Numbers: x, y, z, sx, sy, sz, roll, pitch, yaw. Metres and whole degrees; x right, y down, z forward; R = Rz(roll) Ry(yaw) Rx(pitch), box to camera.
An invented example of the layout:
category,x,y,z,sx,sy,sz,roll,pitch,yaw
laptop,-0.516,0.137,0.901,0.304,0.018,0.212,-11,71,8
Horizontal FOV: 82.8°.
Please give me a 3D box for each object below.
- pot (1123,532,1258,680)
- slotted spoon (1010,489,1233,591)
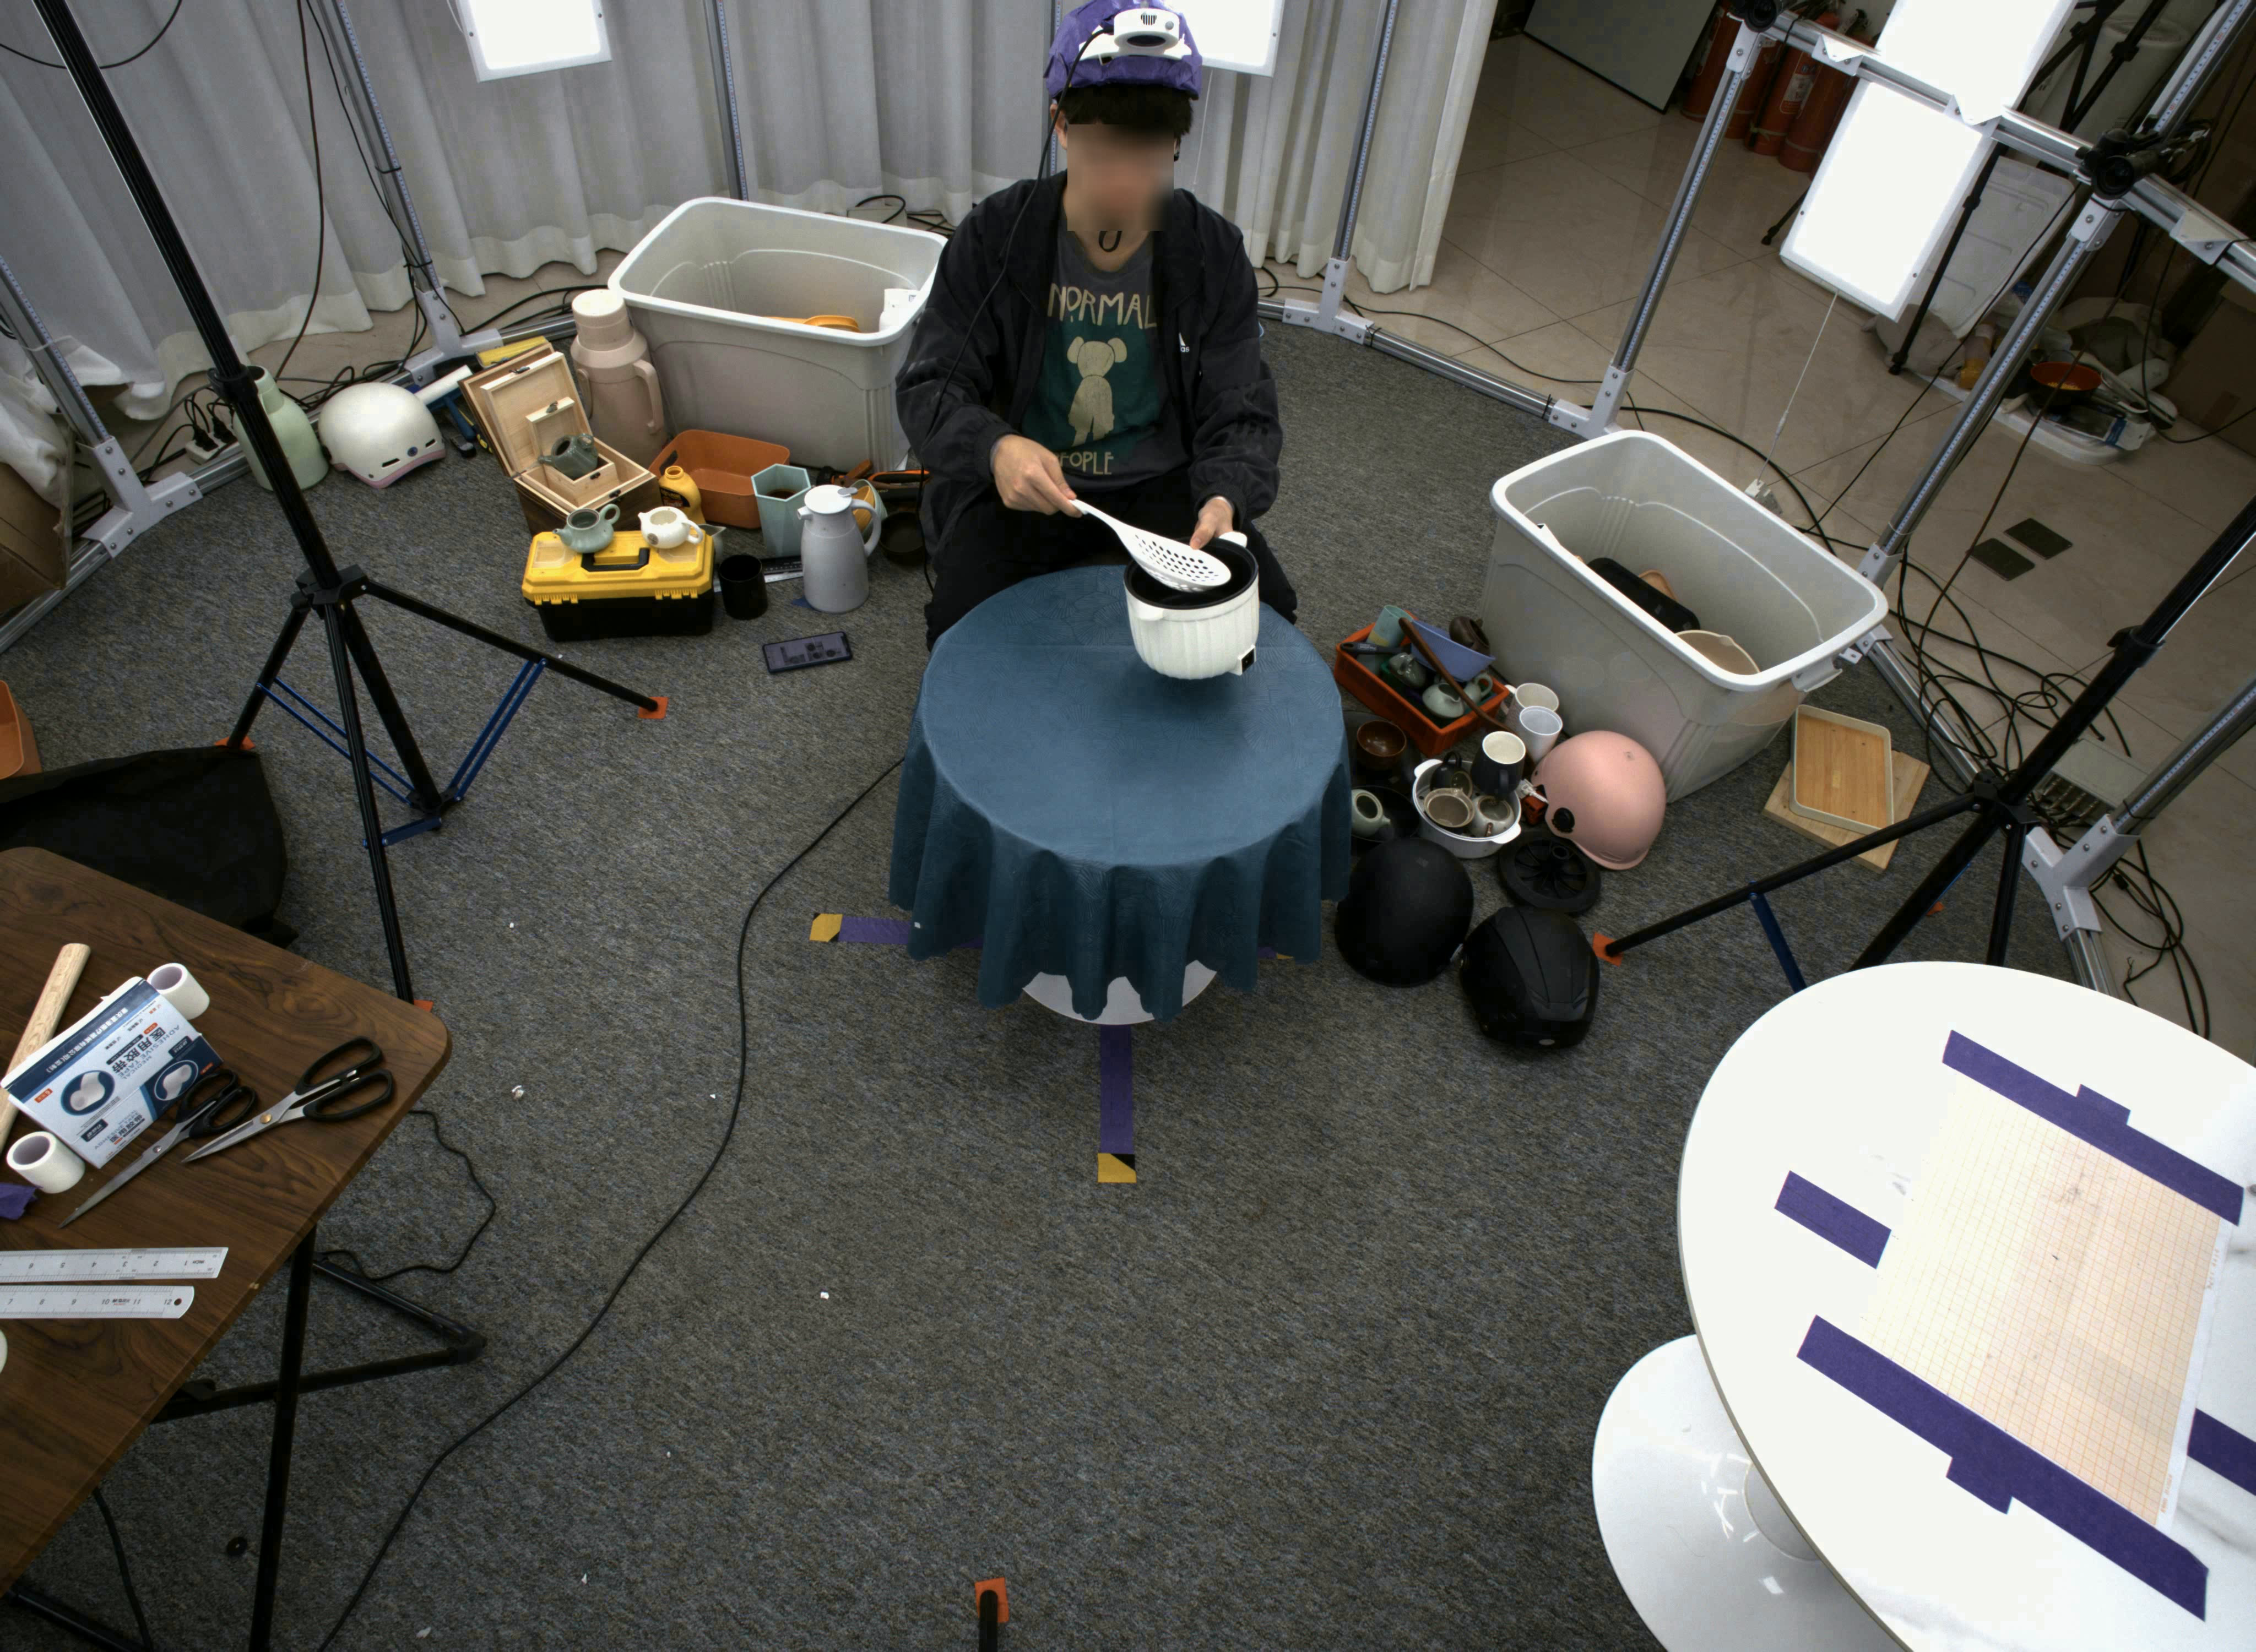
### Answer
category,x,y,z,sx,sy,sz,roll,pitch,yaw
pot,0.084,-0.295,1.772,0.193,0.139,0.243,25,49,29
slotted spoon,-0.016,-0.404,1.775,0.351,0.049,0.138,34,33,18
